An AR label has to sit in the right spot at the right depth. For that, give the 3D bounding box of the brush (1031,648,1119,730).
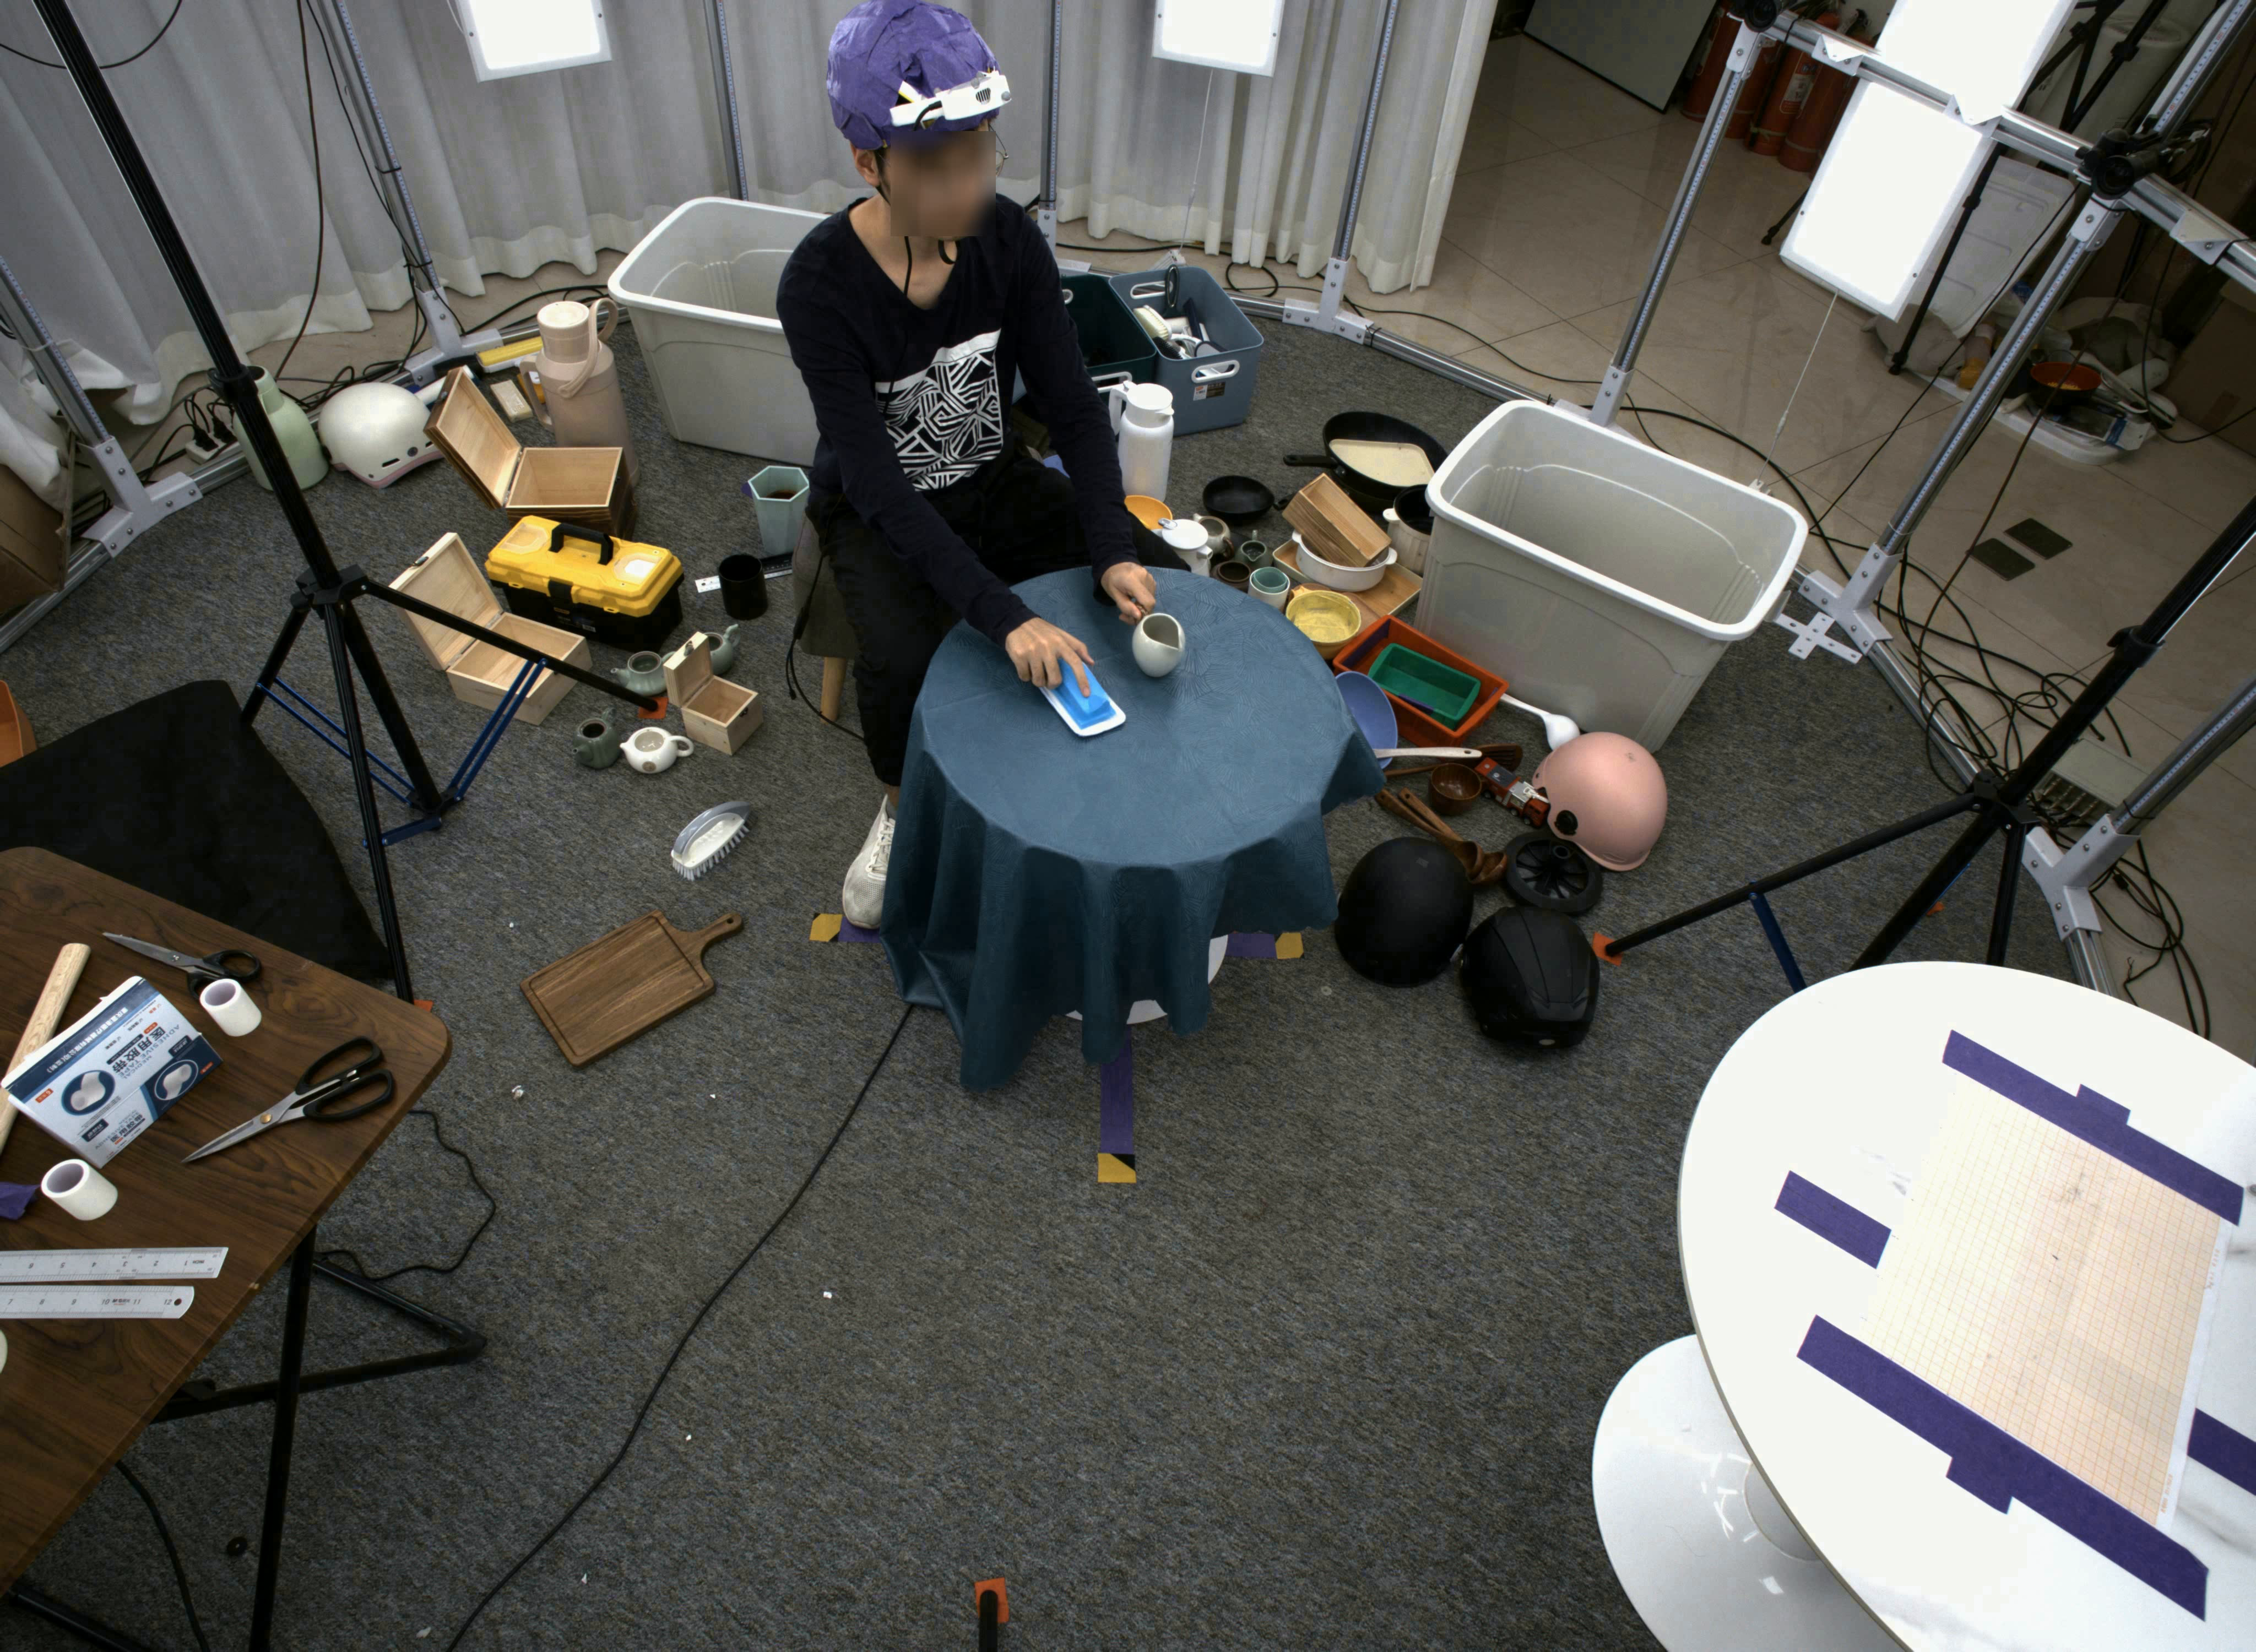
[{"bbox_3d":[-0.072,-0.199,1.796,0.084,0.054,0.147,-18,55,-22],"label":"brush"}]

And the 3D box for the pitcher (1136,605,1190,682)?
[{"bbox_3d":[0.045,-0.256,1.834,0.076,0.086,0.121,-20,64,-21],"label":"pitcher"}]
